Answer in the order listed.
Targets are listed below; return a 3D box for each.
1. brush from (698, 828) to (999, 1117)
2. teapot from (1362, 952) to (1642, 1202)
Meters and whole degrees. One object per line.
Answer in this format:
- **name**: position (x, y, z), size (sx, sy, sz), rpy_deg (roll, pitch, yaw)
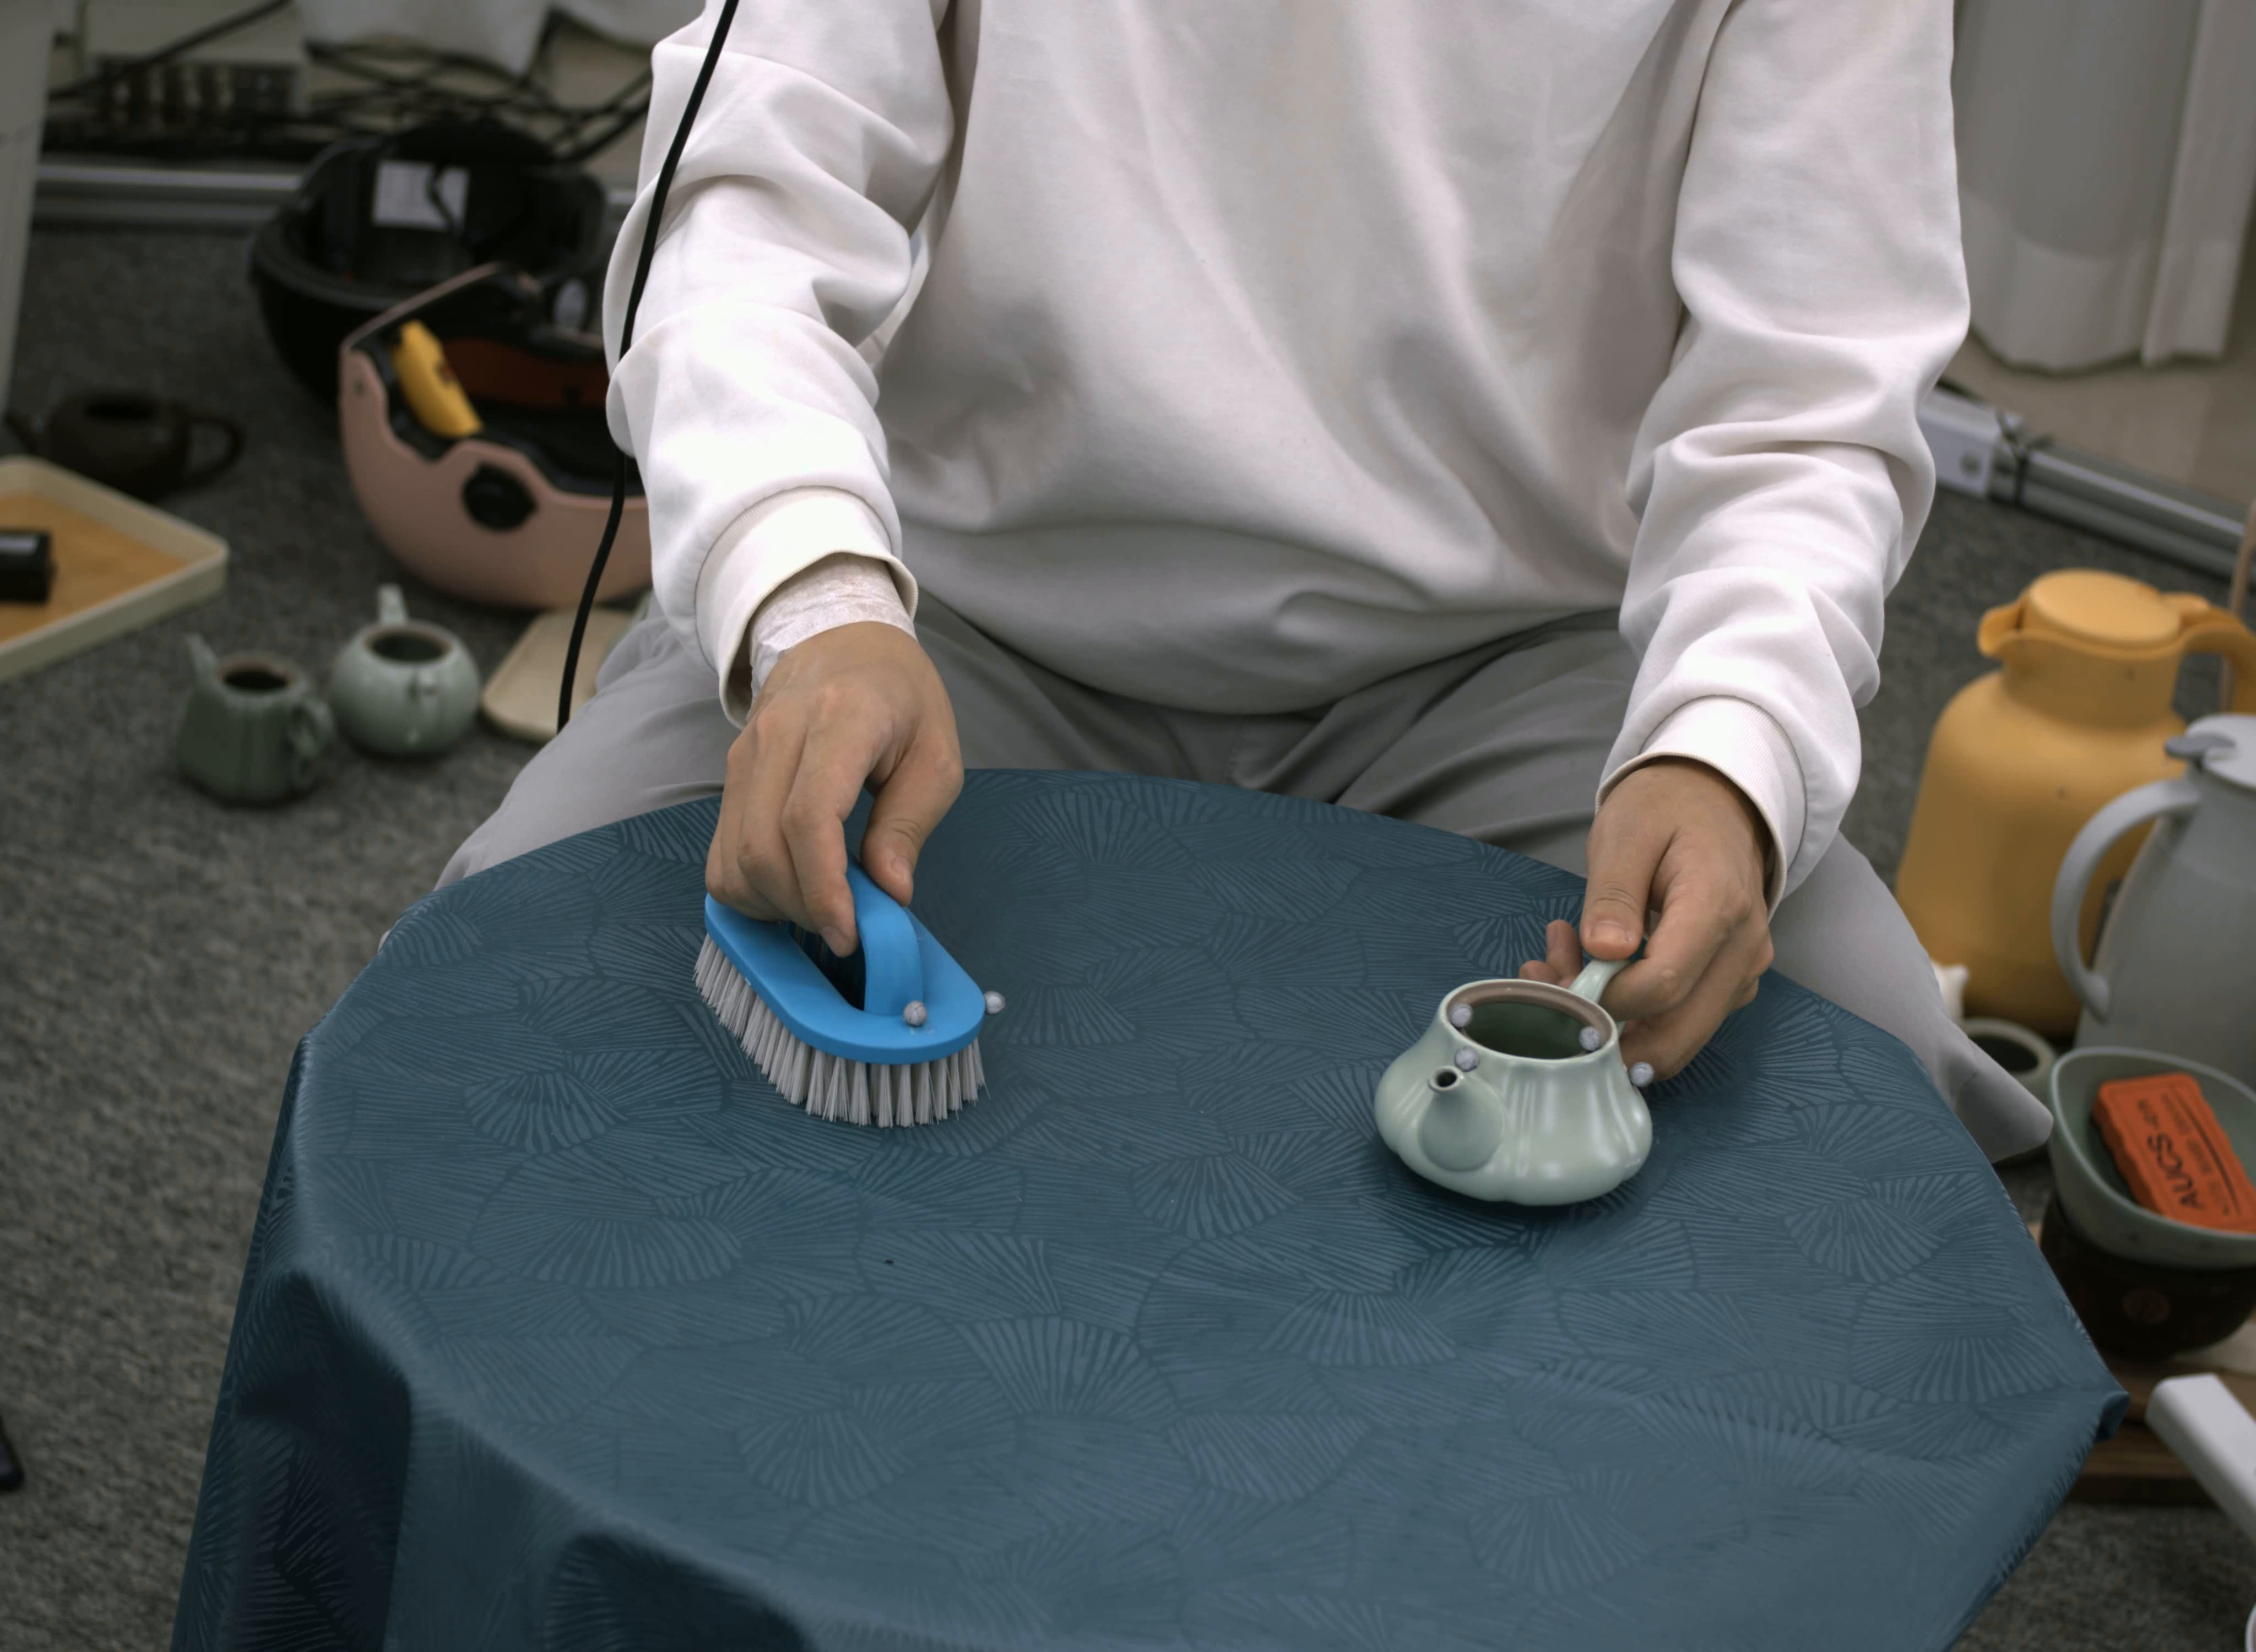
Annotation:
- **brush**: position (-0.100, 0.043, 1.871), size (0.084, 0.063, 0.143), rpy_deg (-12, 30, -22)
- **teapot**: position (0.132, 0.089, 1.839), size (0.096, 0.061, 0.136), rpy_deg (16, 26, 27)
